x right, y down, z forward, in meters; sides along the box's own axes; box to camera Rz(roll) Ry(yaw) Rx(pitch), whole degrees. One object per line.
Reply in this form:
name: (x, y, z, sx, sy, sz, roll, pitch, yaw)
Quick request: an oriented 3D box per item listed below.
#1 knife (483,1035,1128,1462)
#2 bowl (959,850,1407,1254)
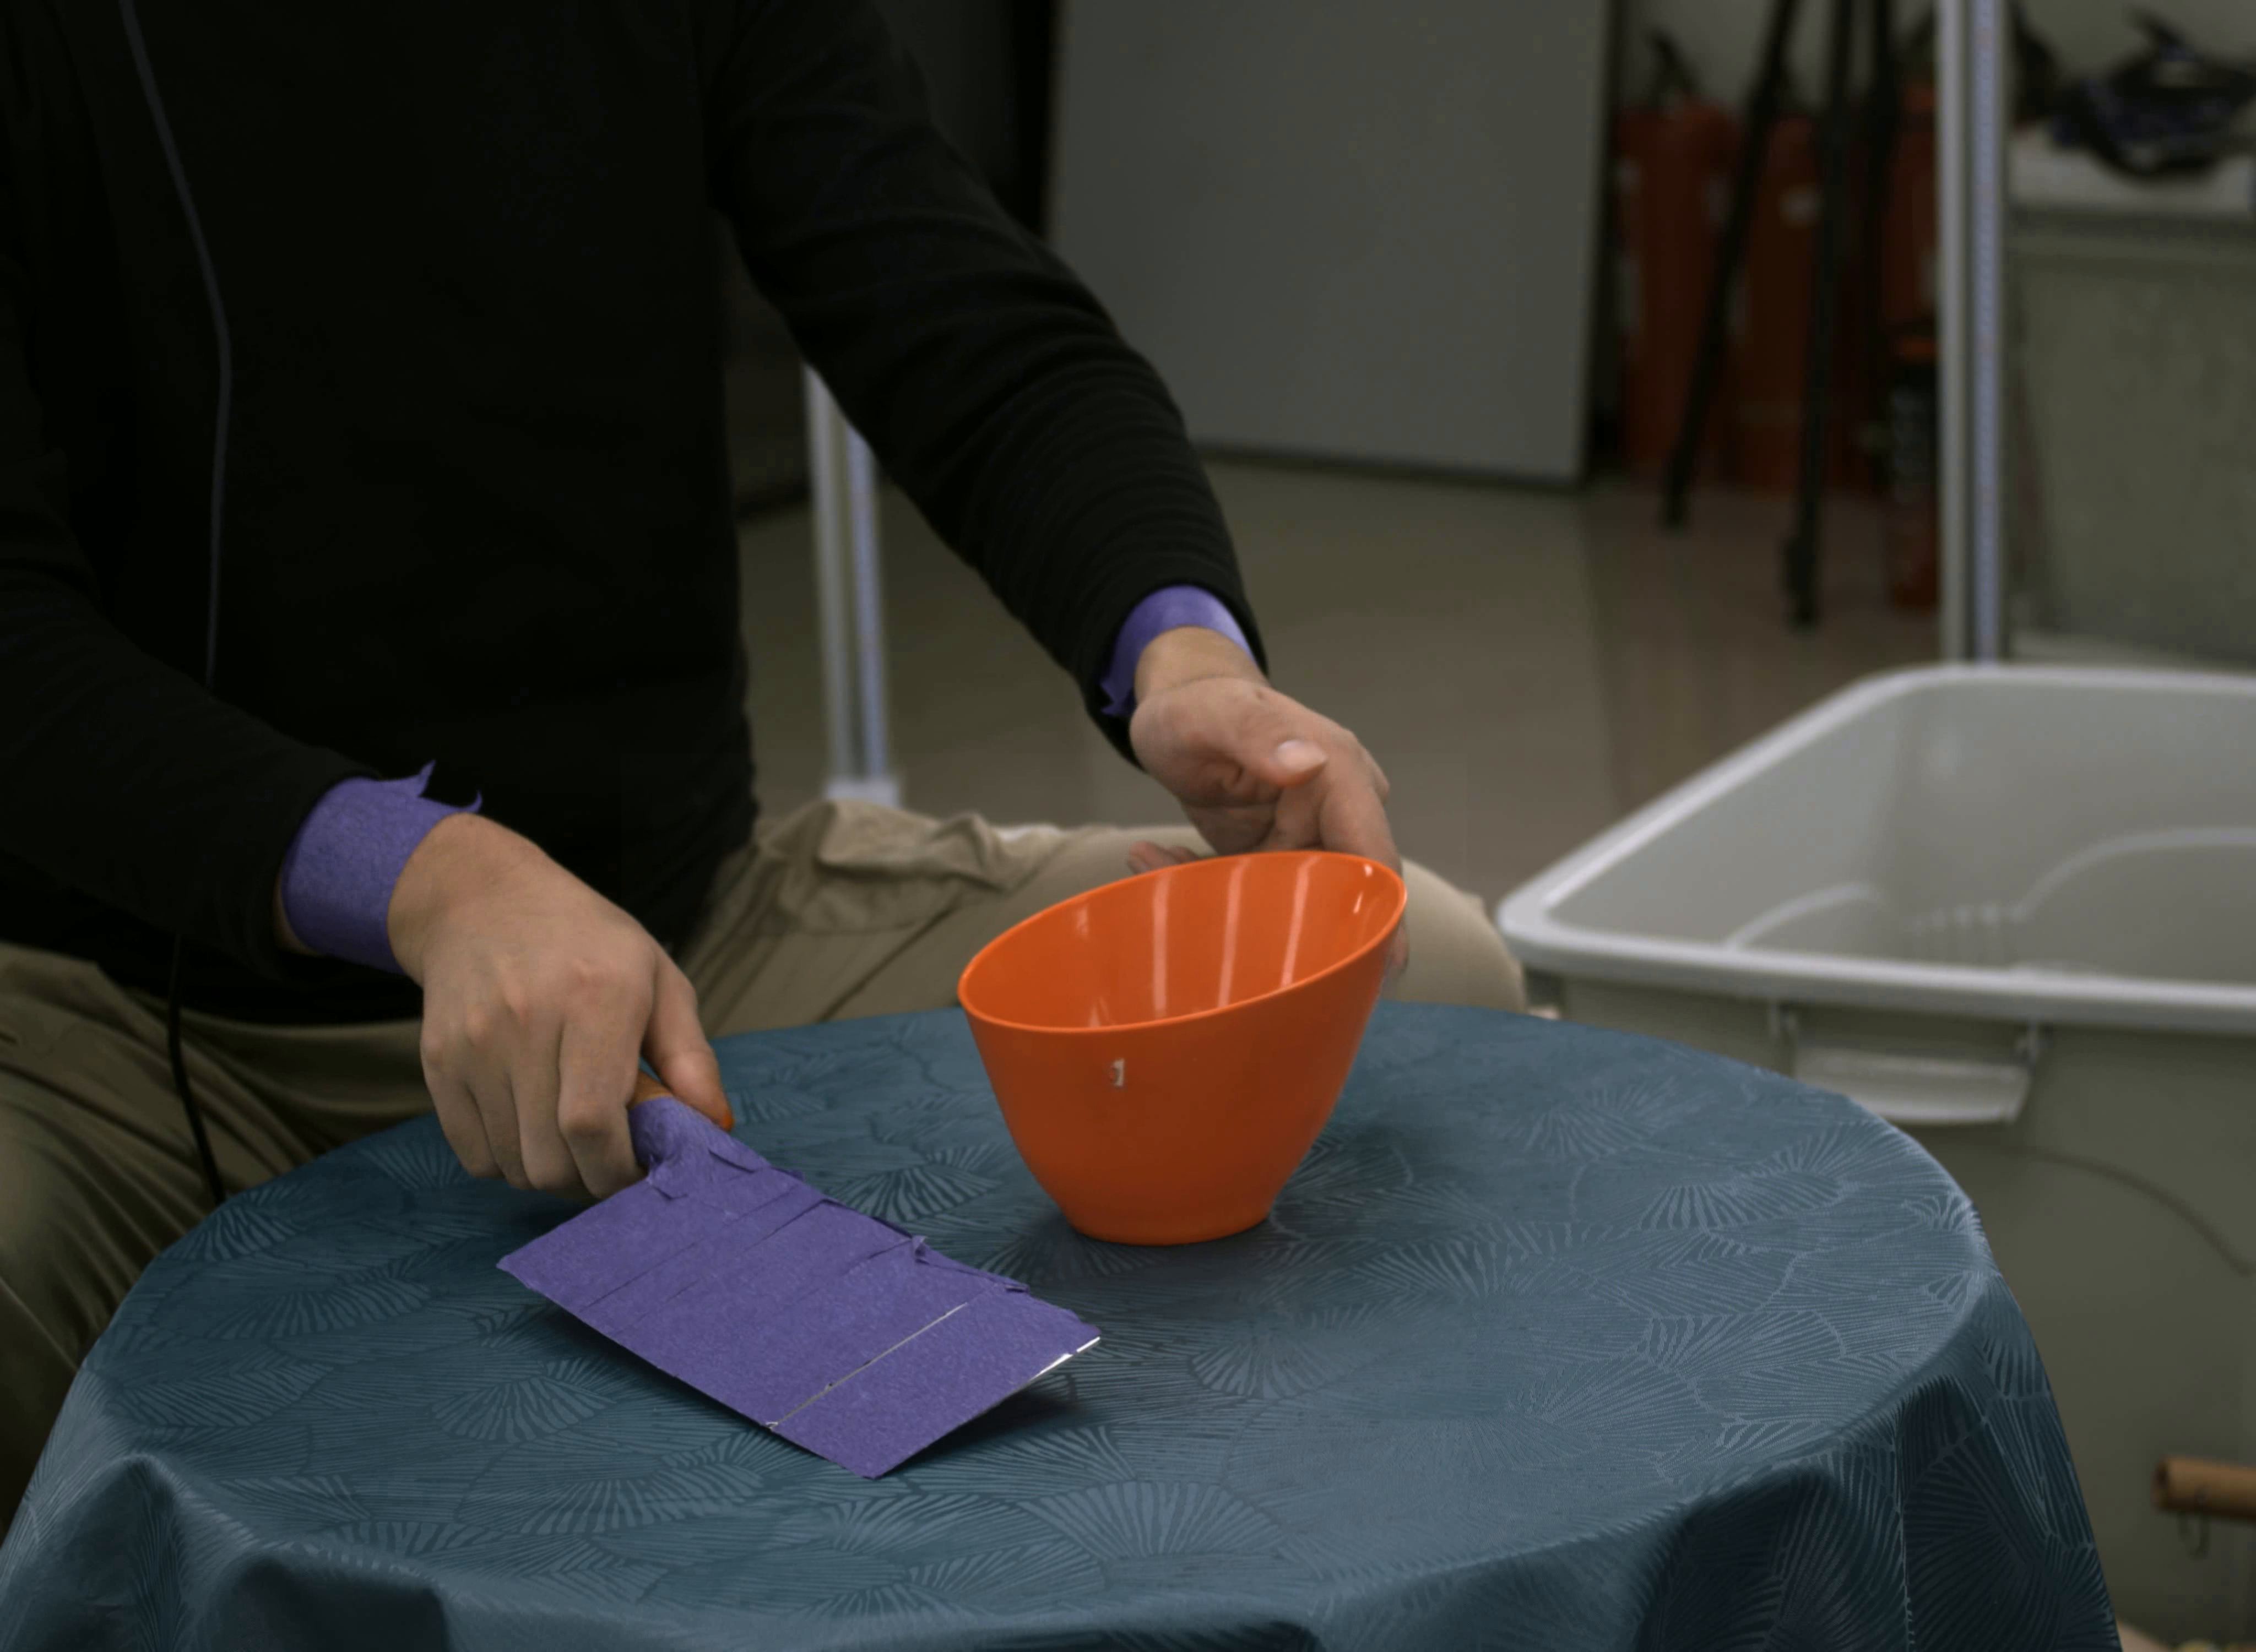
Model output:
knife: (-0.131, 0.127, 1.671, 0.102, 0.032, 0.318, -29, 27, -29)
bowl: (0.021, 0.076, 1.739, 0.146, 0.106, 0.148, -4, 15, 0)
